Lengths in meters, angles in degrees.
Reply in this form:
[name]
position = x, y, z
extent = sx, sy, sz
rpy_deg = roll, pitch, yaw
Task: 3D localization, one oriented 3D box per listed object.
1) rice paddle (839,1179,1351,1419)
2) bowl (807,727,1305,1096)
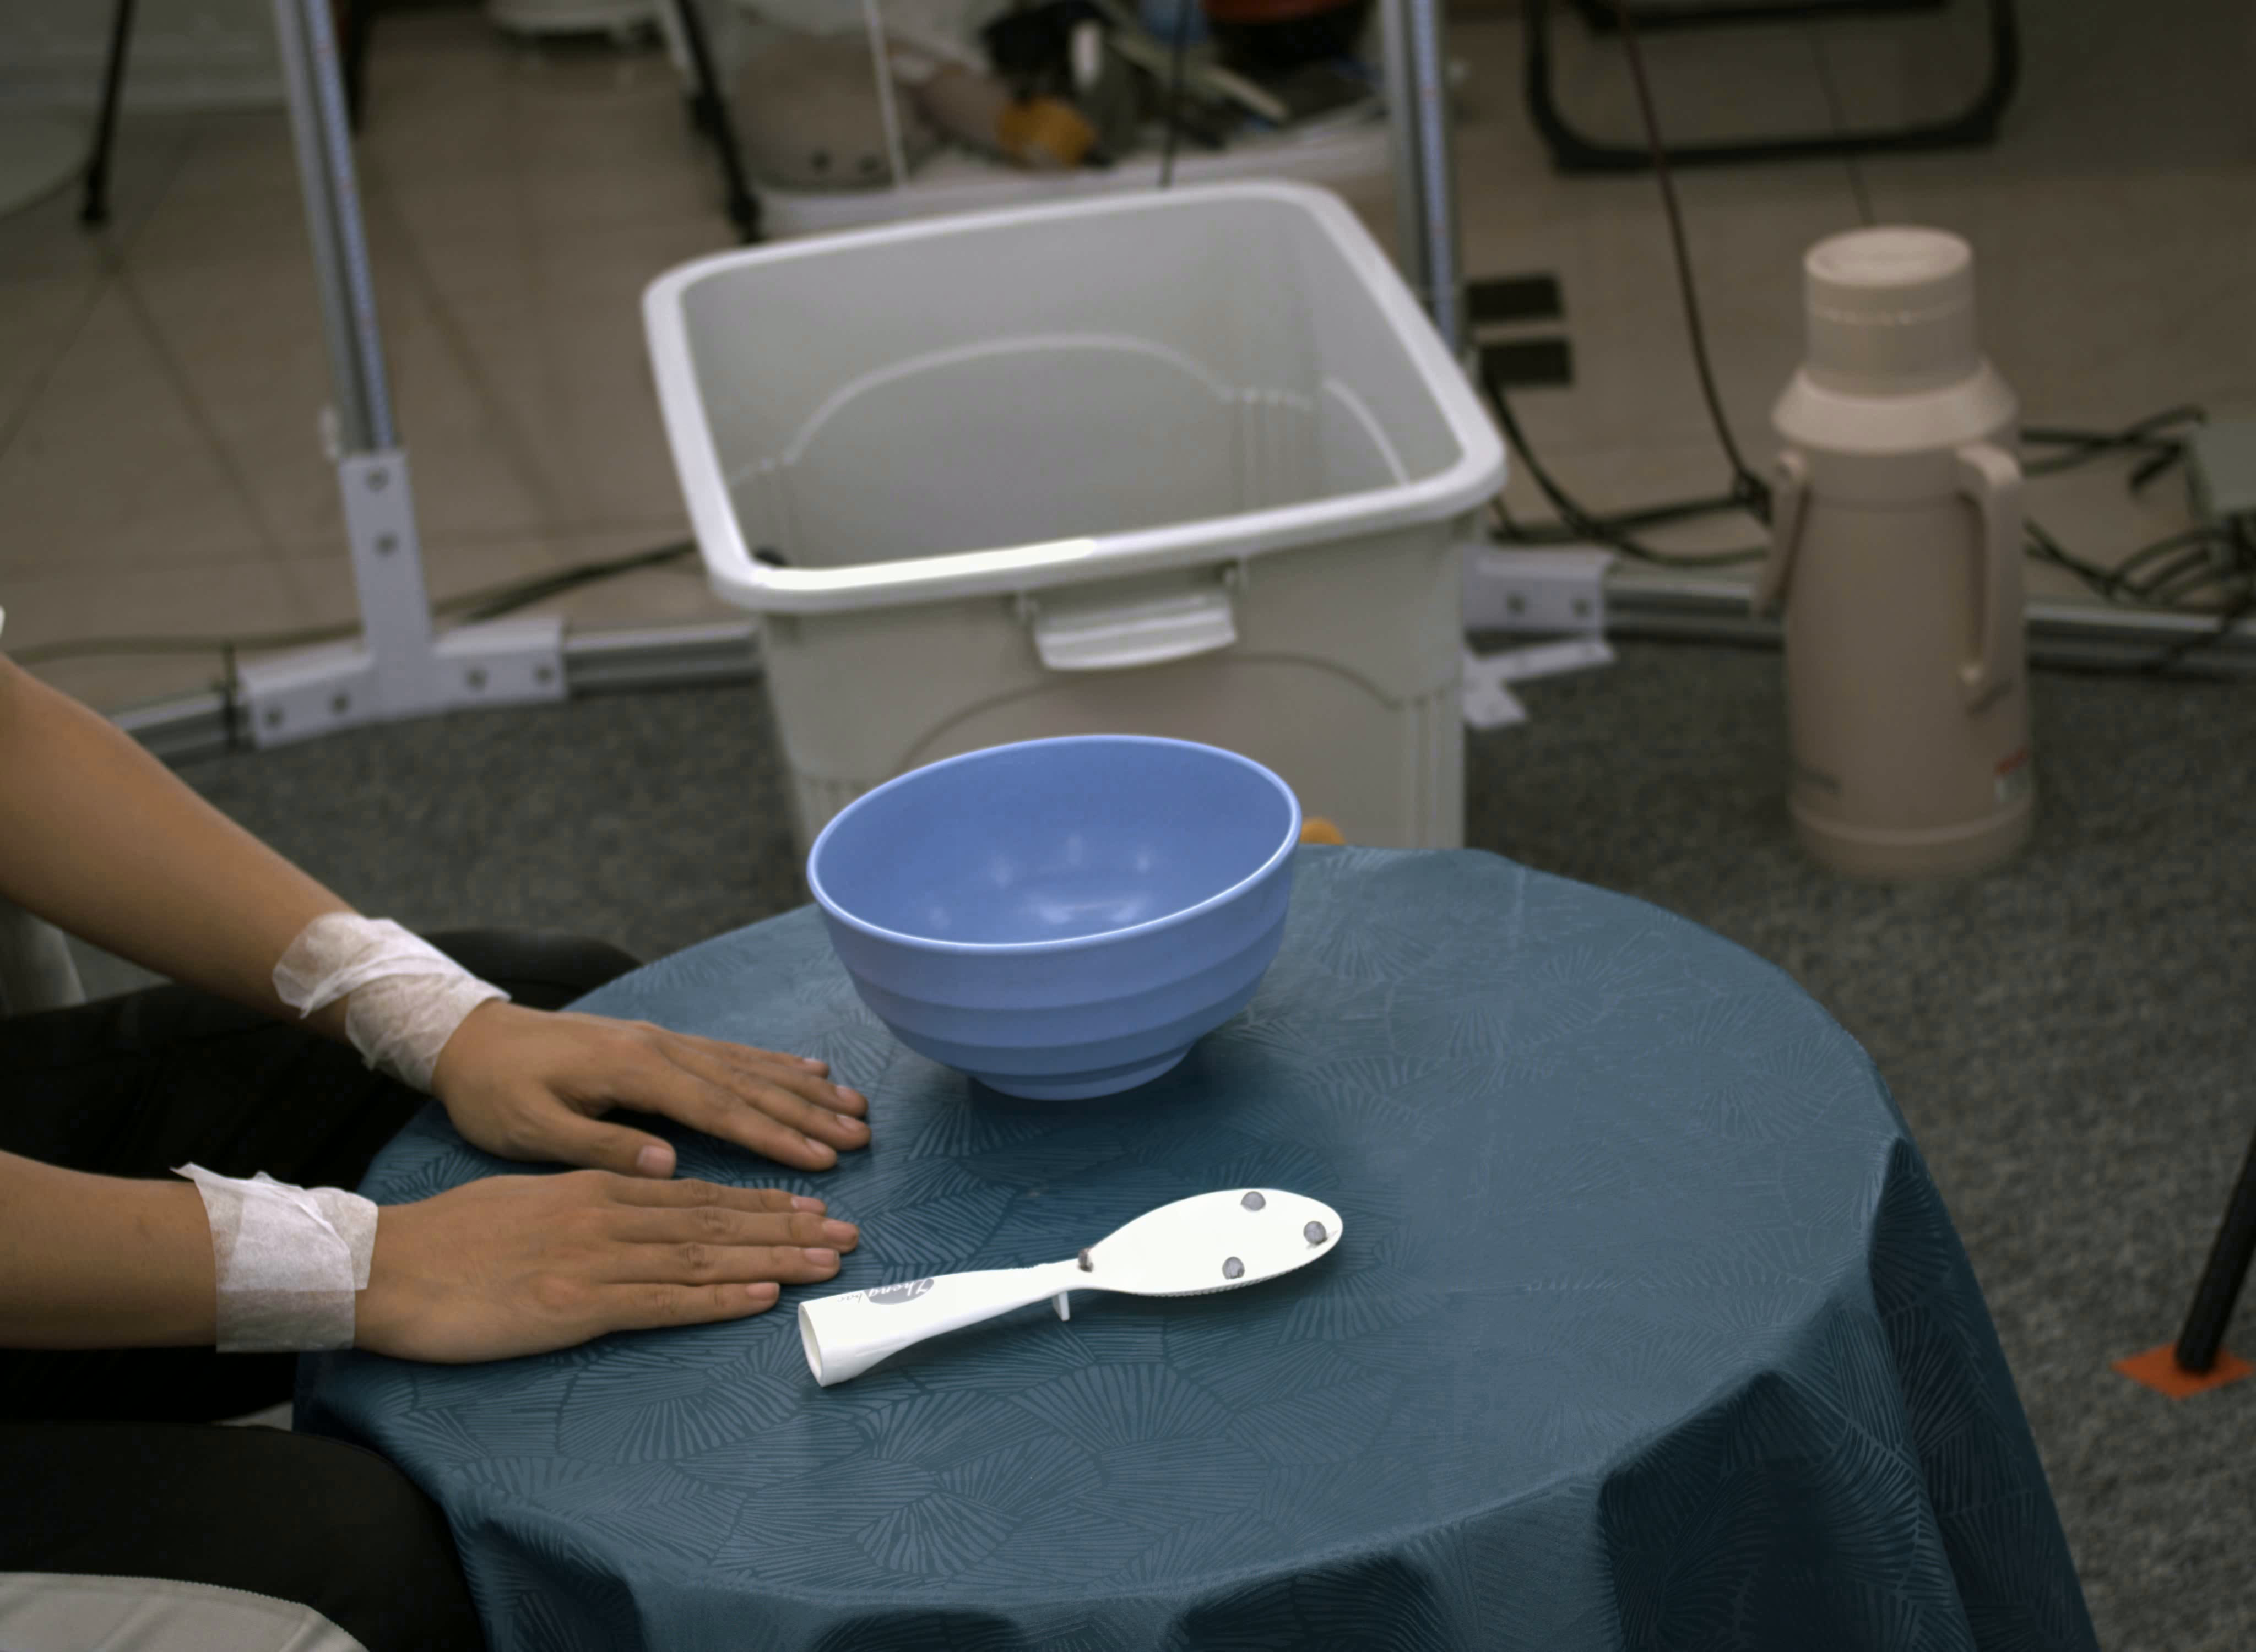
[rice paddle]
position = -0.009, 0.164, 2.074
extent = 0.204, 0.030, 0.068
rpy_deg = -21, 15, -21
[bowl]
position = -0.025, 0.044, 2.243
extent = 0.196, 0.097, 0.193
rpy_deg = -4, 26, 2
